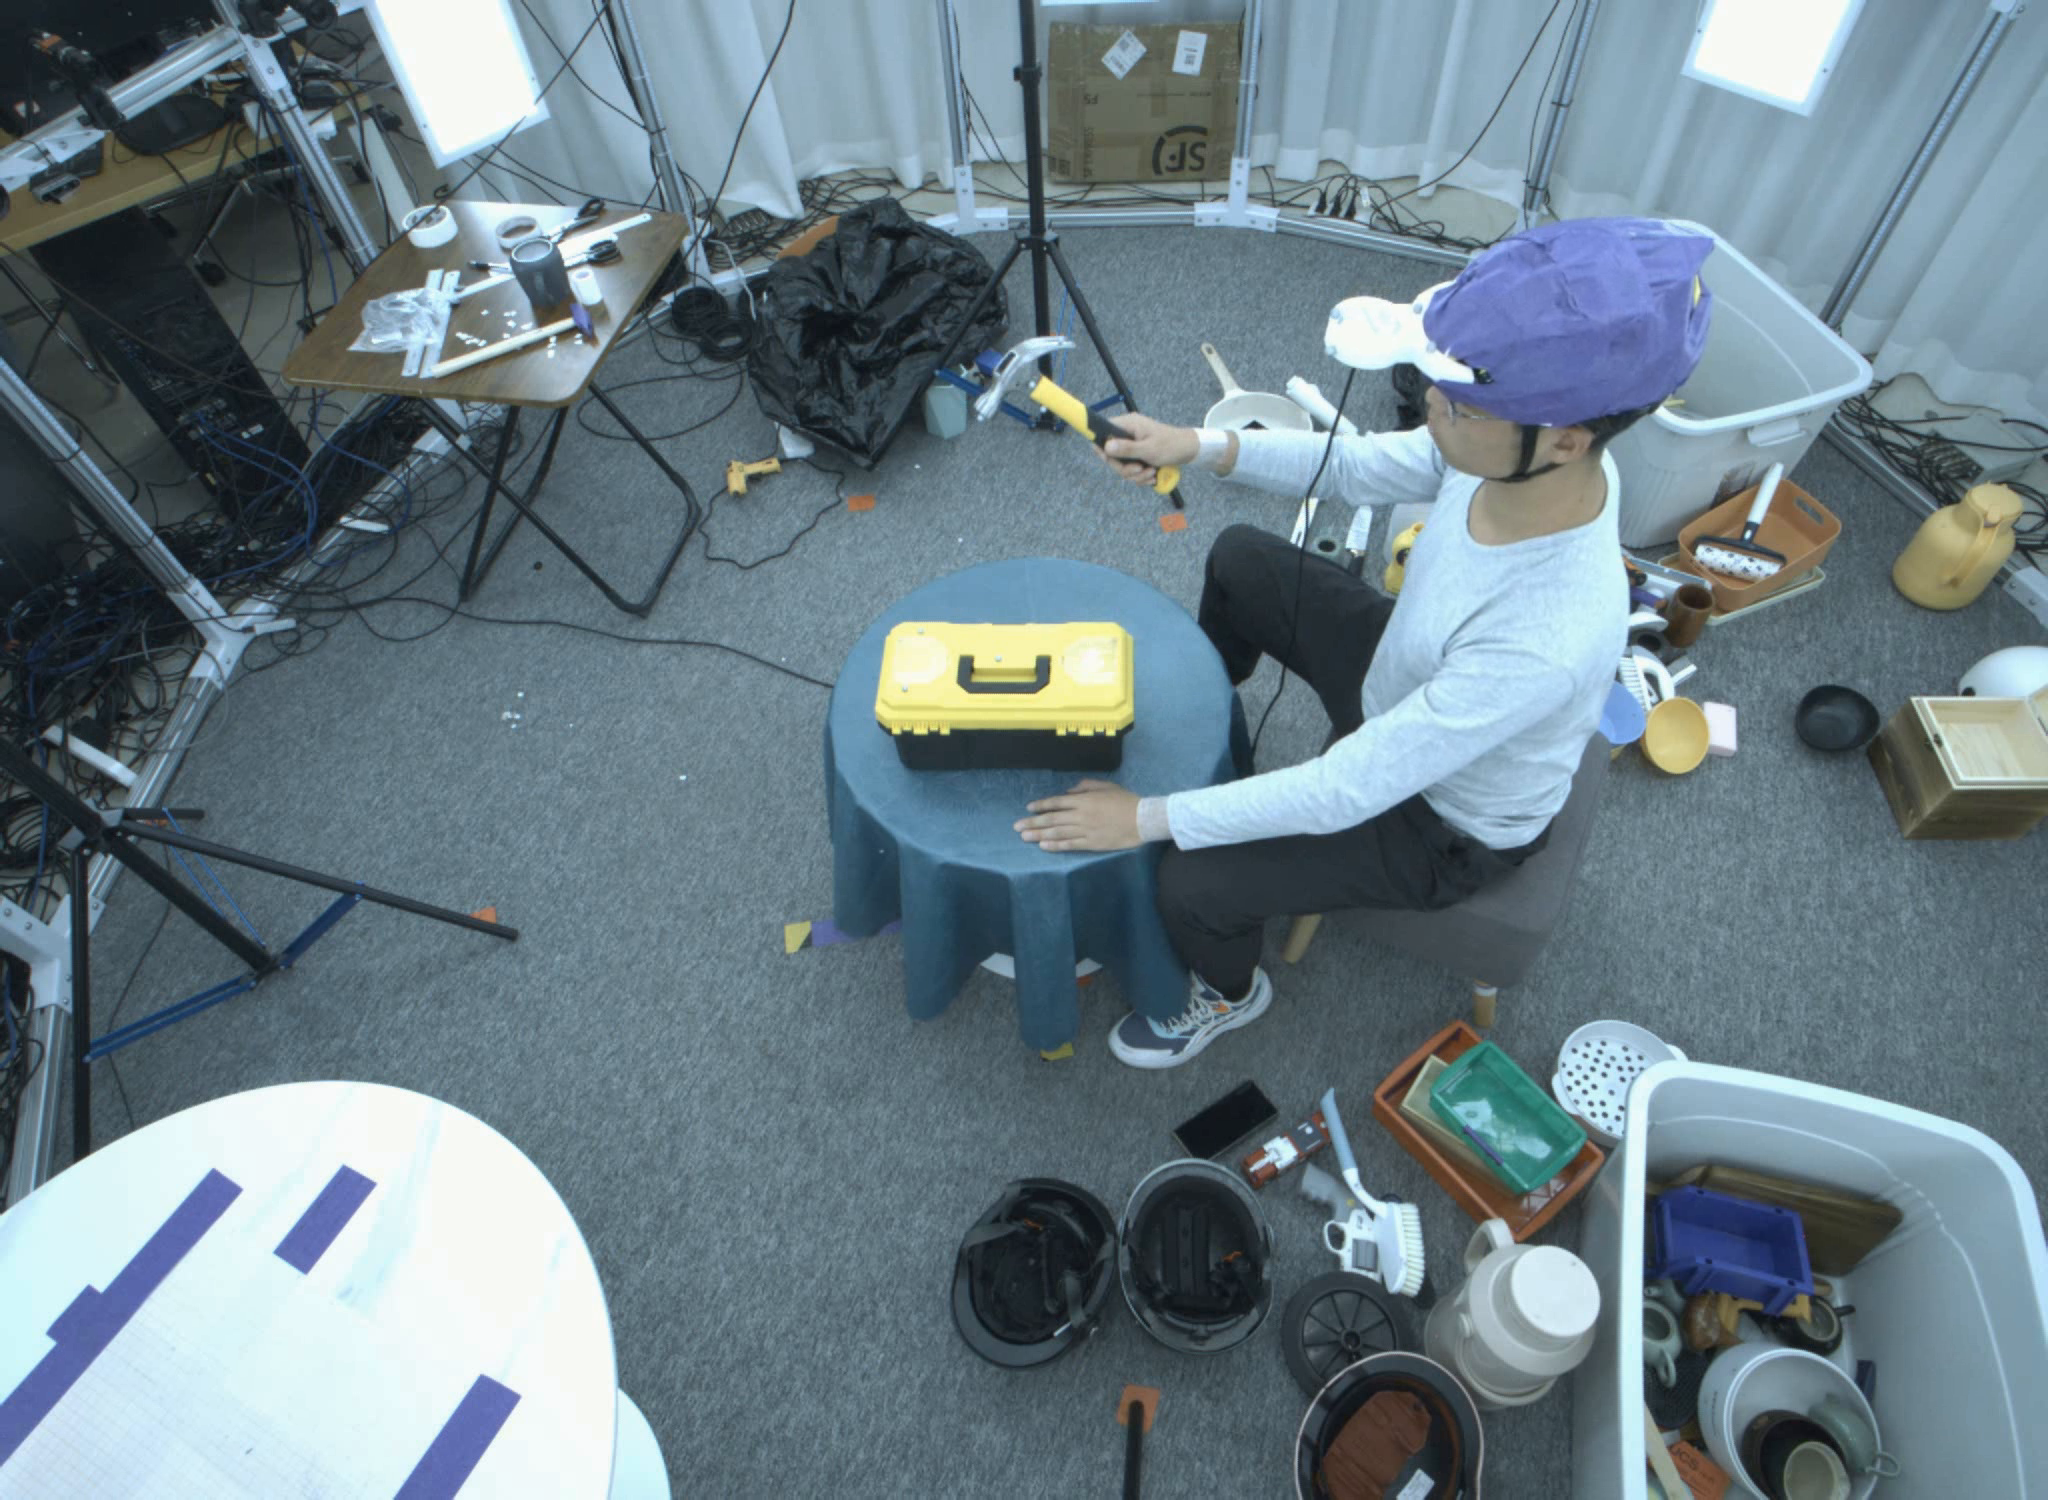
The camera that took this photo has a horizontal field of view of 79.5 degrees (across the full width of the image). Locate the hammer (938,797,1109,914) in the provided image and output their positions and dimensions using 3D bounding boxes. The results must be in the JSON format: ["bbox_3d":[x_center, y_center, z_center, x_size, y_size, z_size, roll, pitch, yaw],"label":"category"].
[{"bbox_3d":[0.022,0.183,2.037,0.130,0.346,0.032,-34,37,25],"label":"hammer"}]

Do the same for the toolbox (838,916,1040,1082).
[{"bbox_3d":[-0.153,0.458,2.254,0.347,0.174,0.182,24,59,18],"label":"toolbox"}]
